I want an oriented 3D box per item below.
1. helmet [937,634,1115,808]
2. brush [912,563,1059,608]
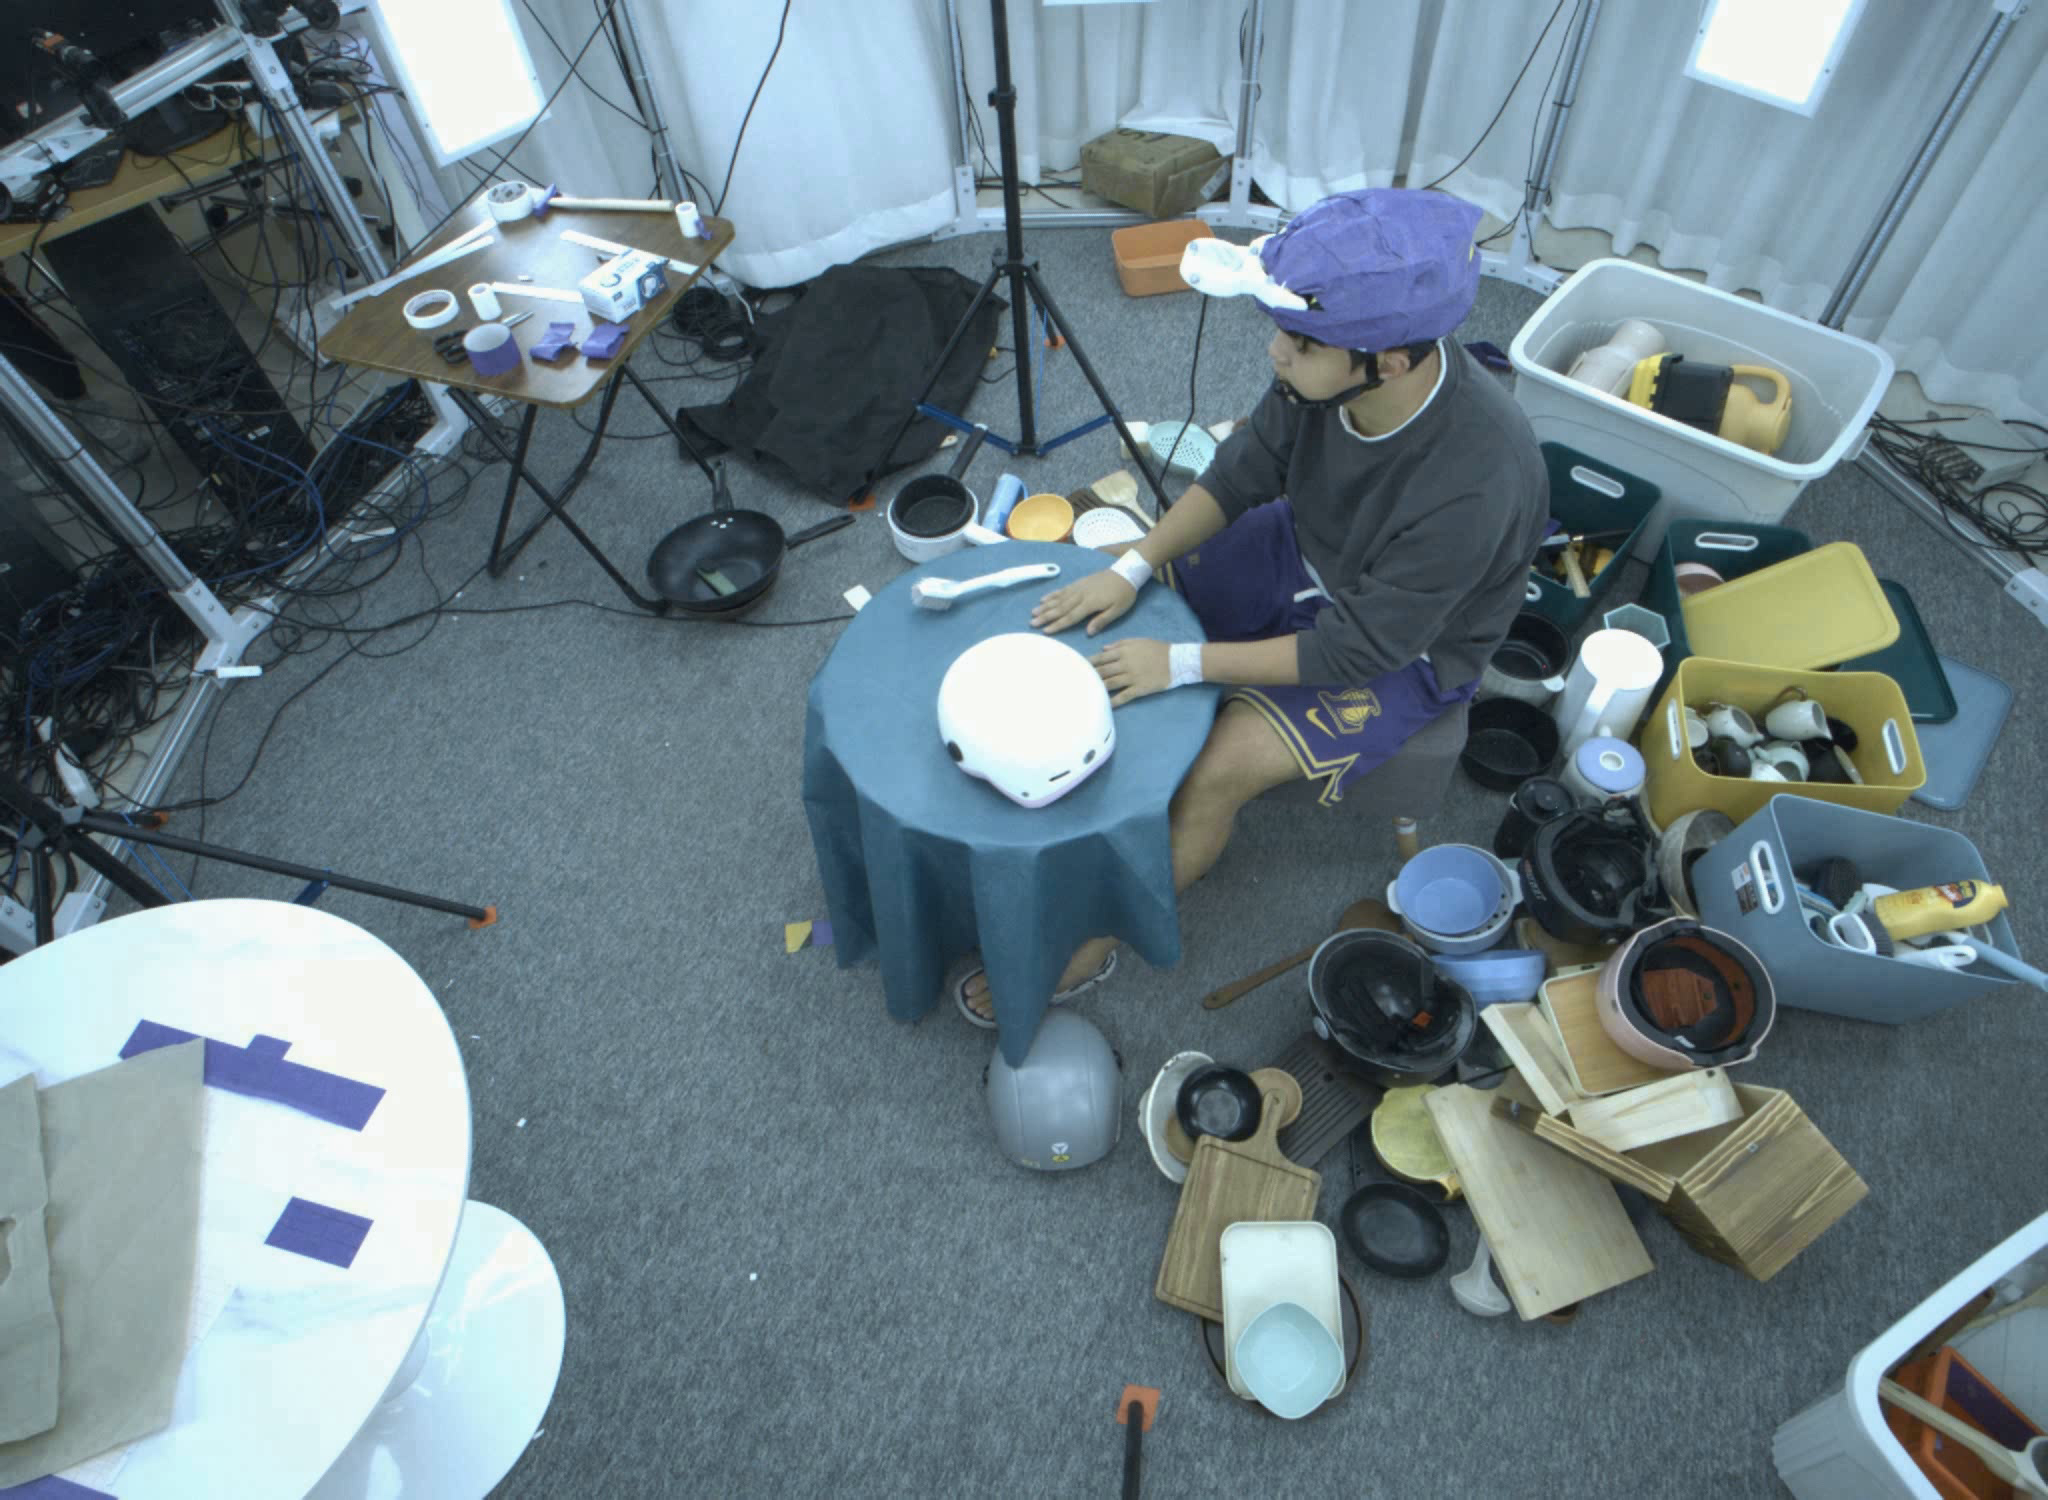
[{"bbox_3d":[-0.004,-0.067,1.737,0.239,0.169,0.264,-39,61,-22],"label":"helmet"},{"bbox_3d":[-0.060,-0.264,1.965,0.247,0.050,0.034,-10,53,-22],"label":"brush"}]
